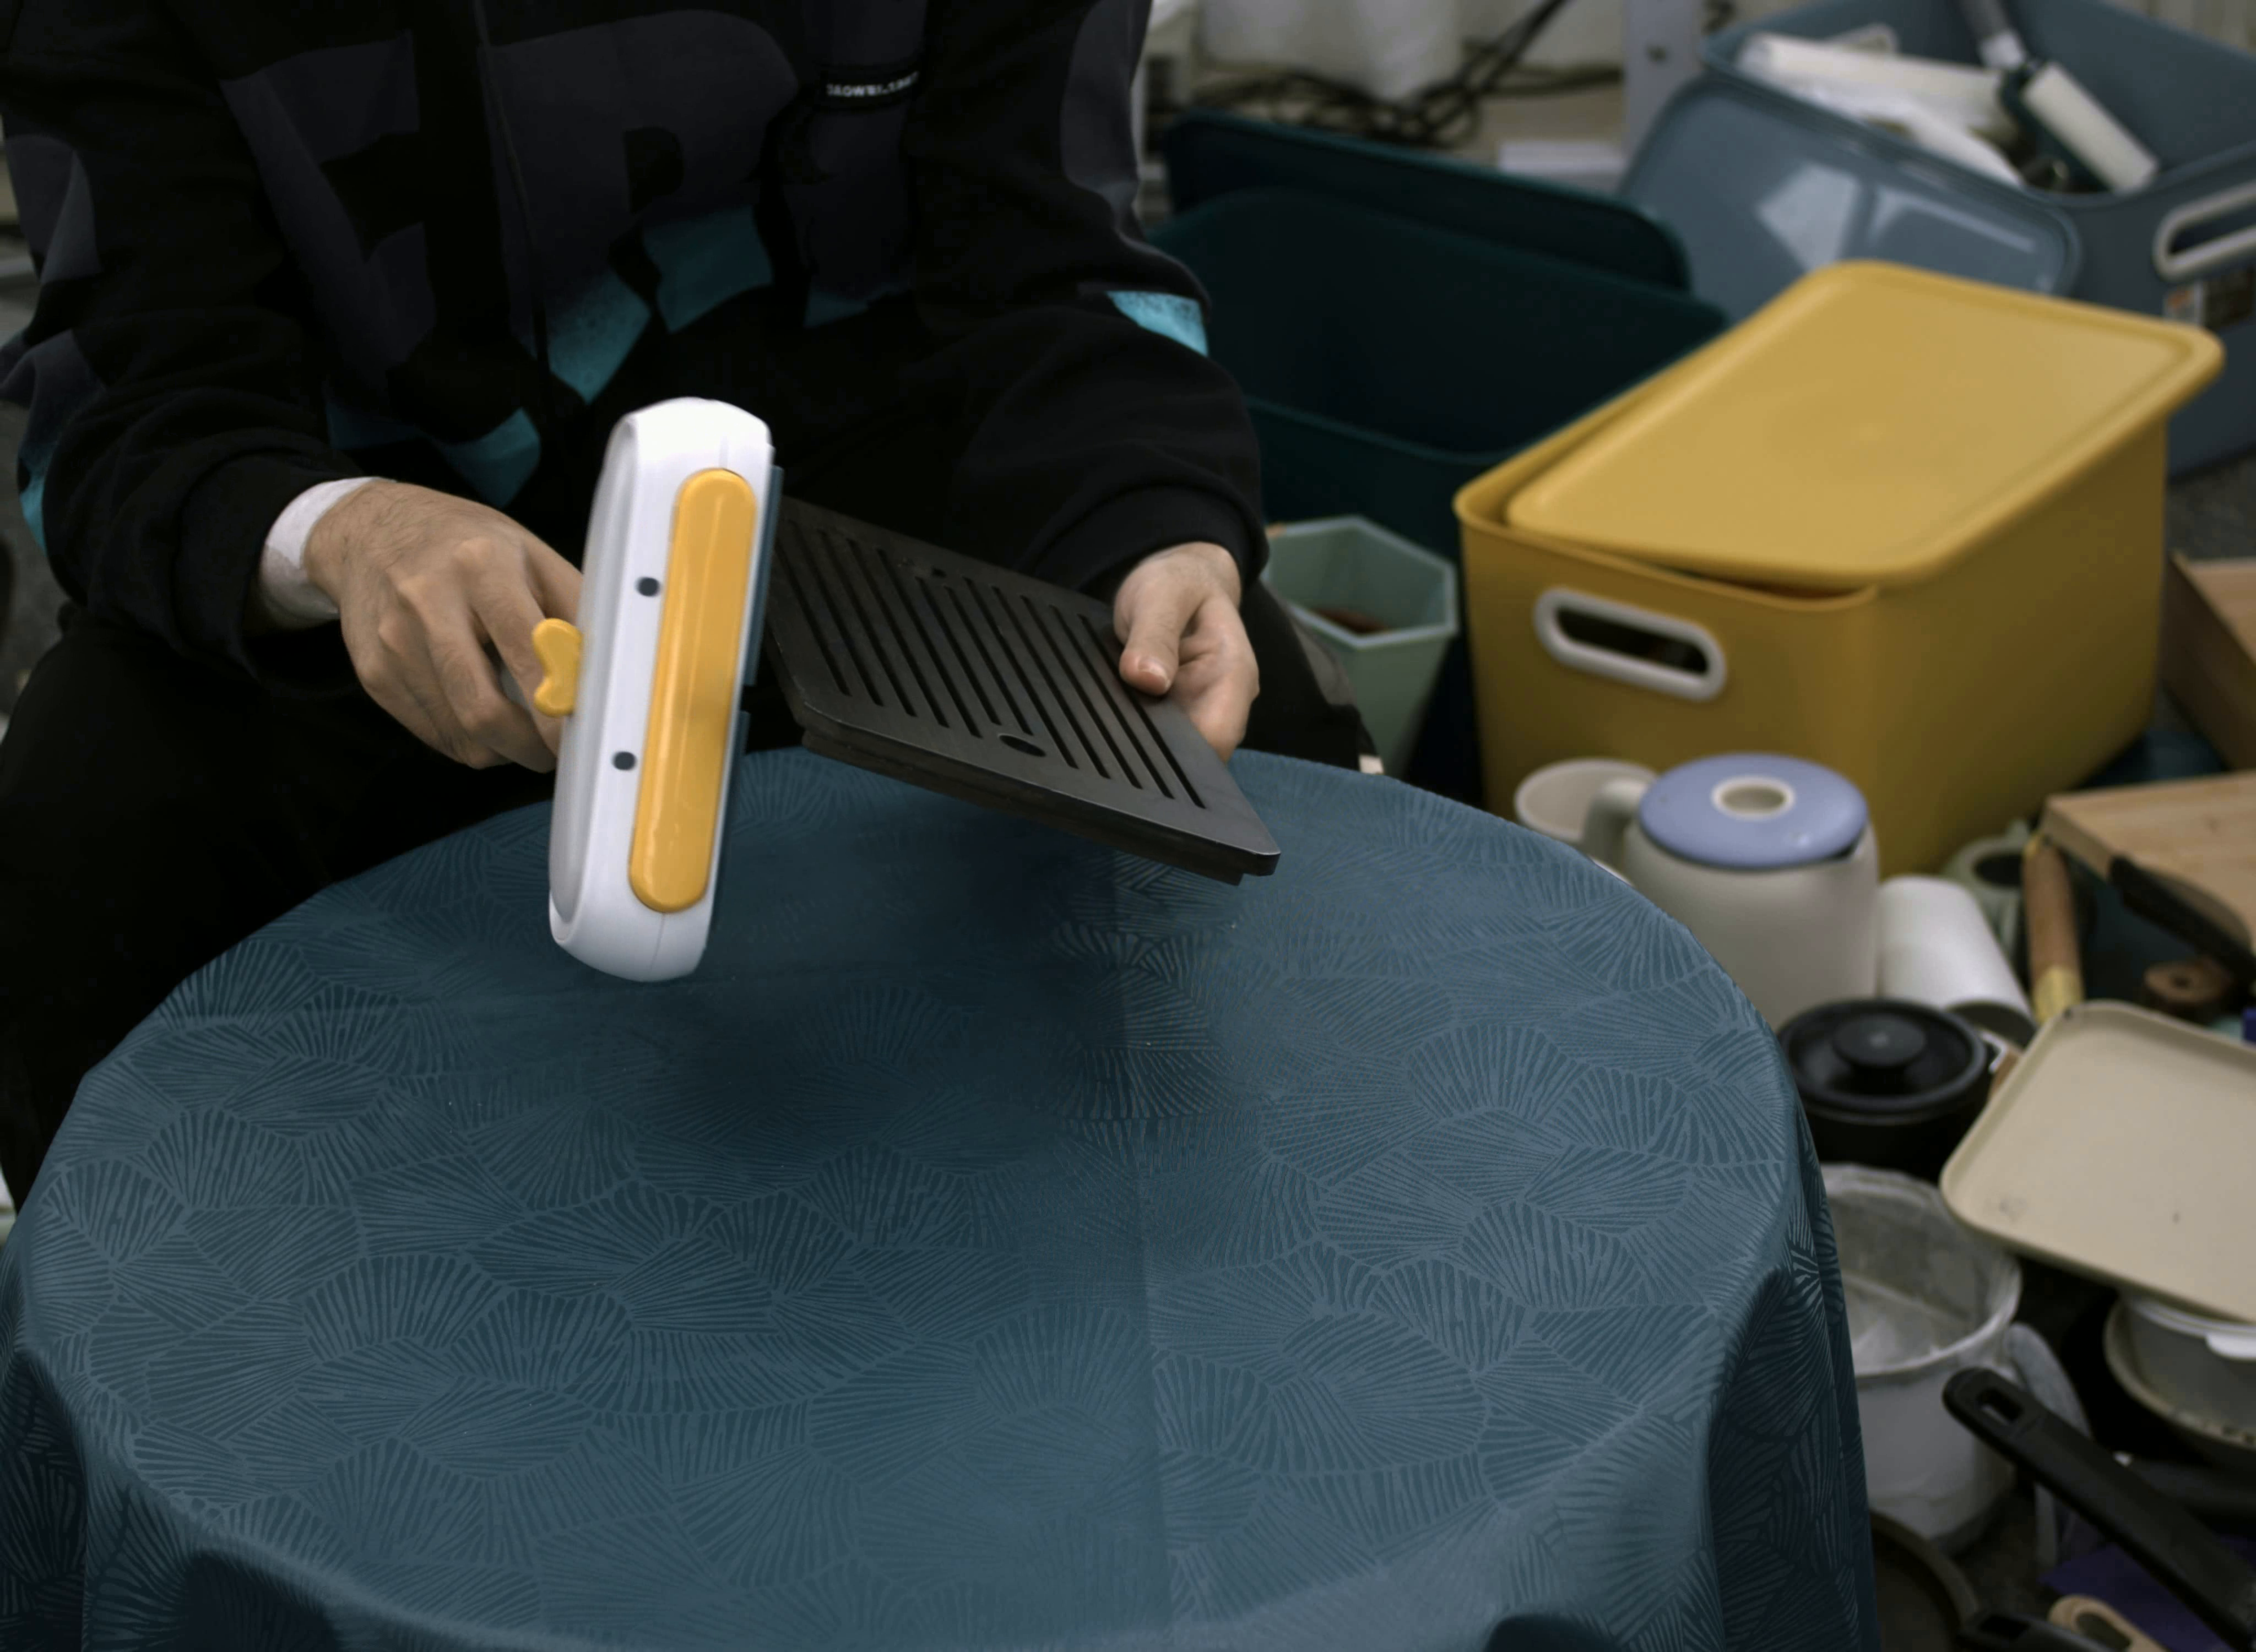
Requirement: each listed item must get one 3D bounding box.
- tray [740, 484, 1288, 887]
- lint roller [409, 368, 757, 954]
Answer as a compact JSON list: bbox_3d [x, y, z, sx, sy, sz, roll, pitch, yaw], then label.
[{"bbox_3d":[-0.052,-0.051,1.958,0.169,0.018,0.308,18,14,-16],"label":"tray"},{"bbox_3d":[-0.187,-0.052,1.902,0.074,0.194,0.191,3,-5,-25],"label":"lint roller"}]
